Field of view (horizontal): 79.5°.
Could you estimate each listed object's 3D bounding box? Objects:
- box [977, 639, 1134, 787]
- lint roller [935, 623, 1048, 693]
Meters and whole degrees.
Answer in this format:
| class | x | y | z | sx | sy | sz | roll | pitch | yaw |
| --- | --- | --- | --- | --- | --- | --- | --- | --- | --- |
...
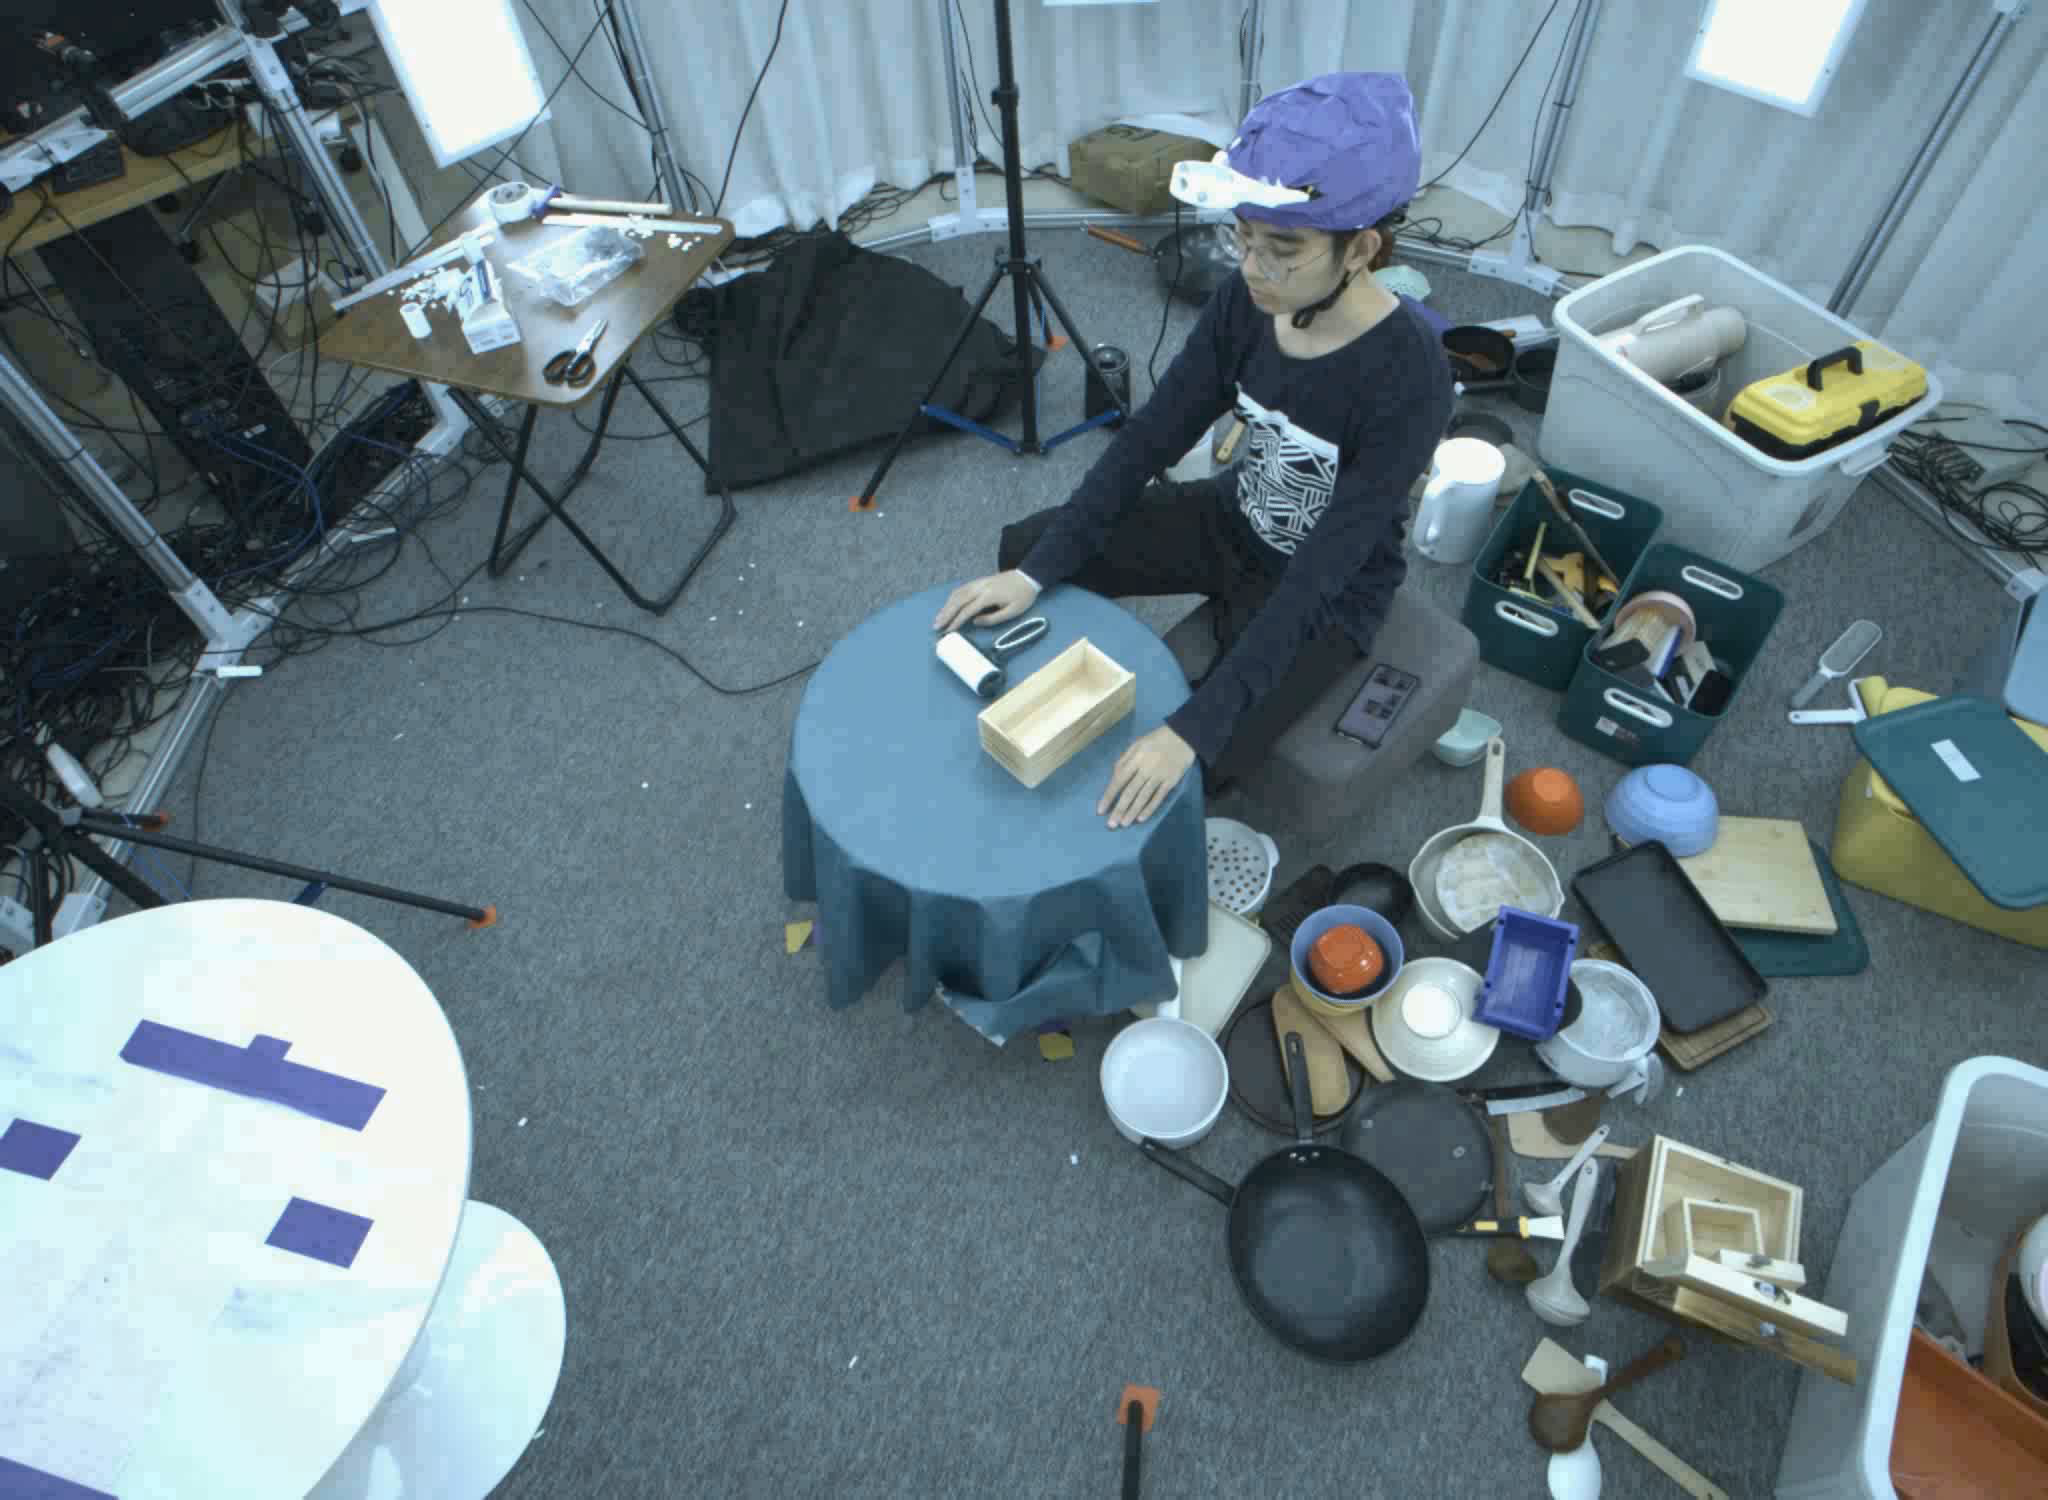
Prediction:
| class | x | y | z | sx | sy | sz | roll | pitch | yaw |
| --- | --- | --- | --- | --- | --- | --- | --- | --- | --- |
| box | 0.048 | -0.056 | 1.785 | 0.213 | 0.081 | 0.105 | -37 | 60 | -24 |
| lint roller | -0.034 | -0.165 | 1.891 | 0.182 | 0.049 | 0.132 | -32 | 59 | -25 |
